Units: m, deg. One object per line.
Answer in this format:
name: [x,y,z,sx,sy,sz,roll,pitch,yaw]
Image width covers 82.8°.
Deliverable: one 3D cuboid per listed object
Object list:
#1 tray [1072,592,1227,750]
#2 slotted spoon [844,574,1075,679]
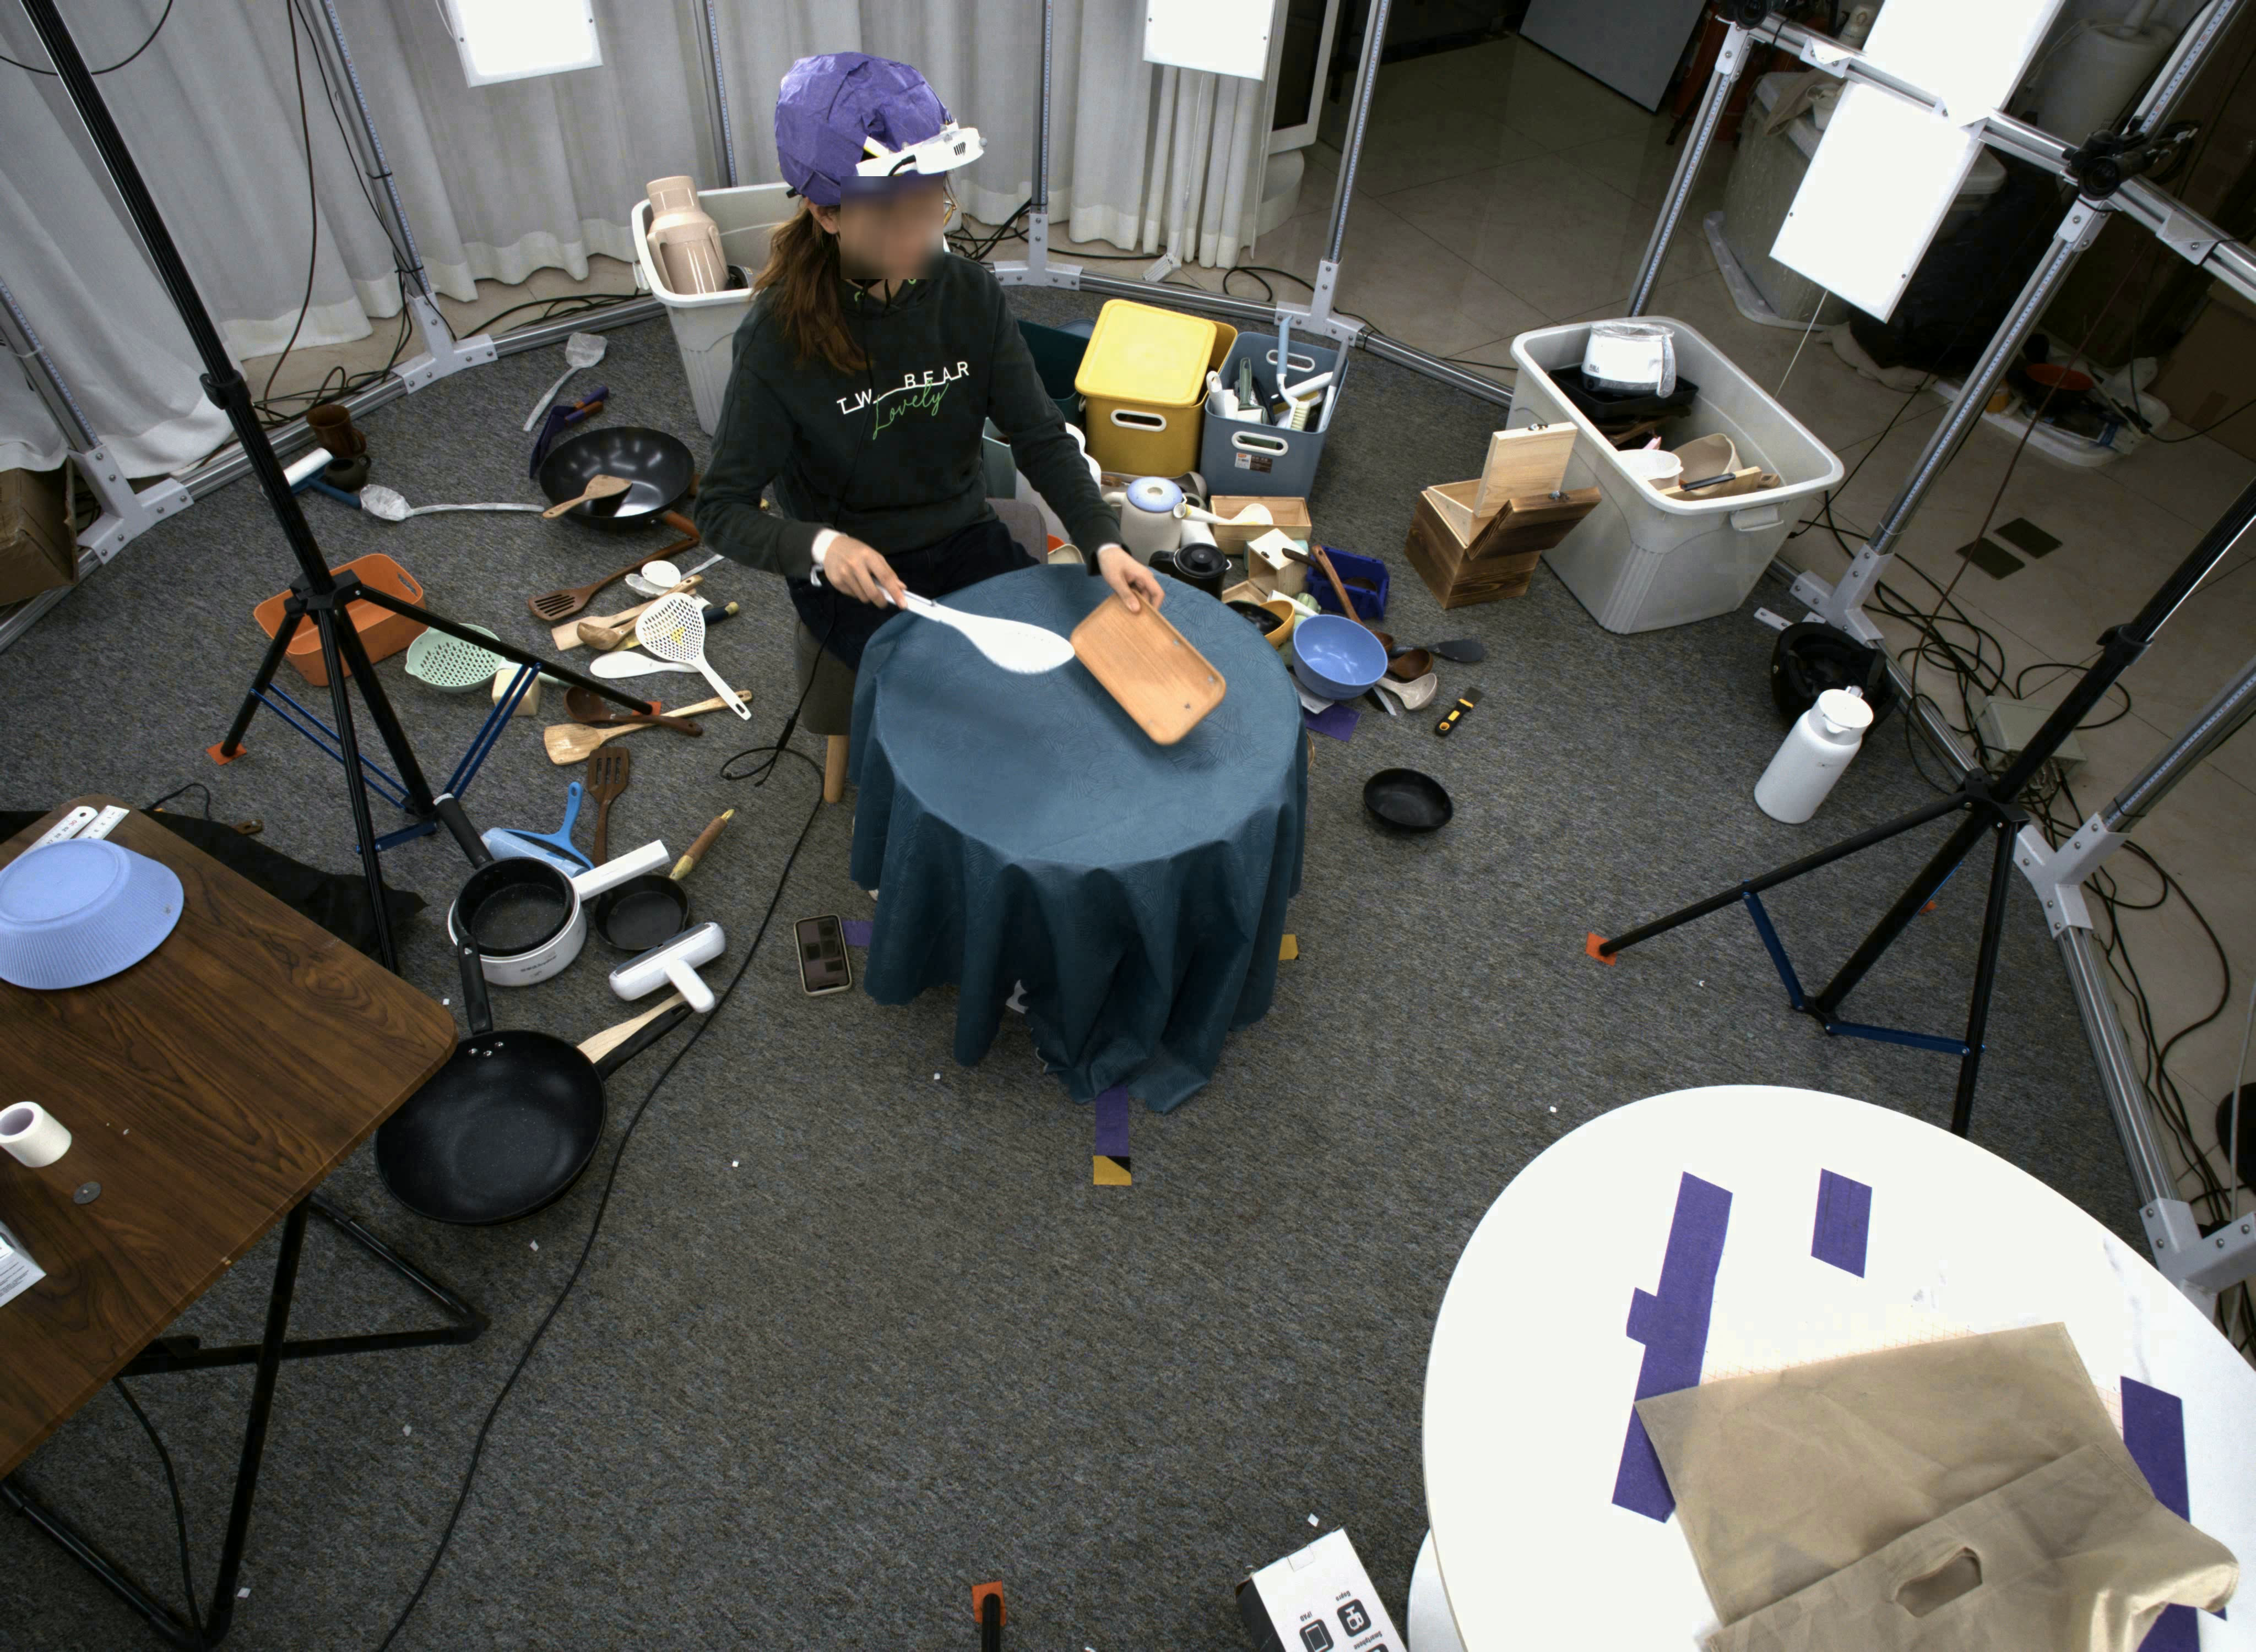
tray: [0.028,-0.220,1.805,0.130,0.022,0.255,-40,59,2]
slotted spoon: [-0.230,-0.270,1.713,0.353,0.045,0.137,28,28,17]
